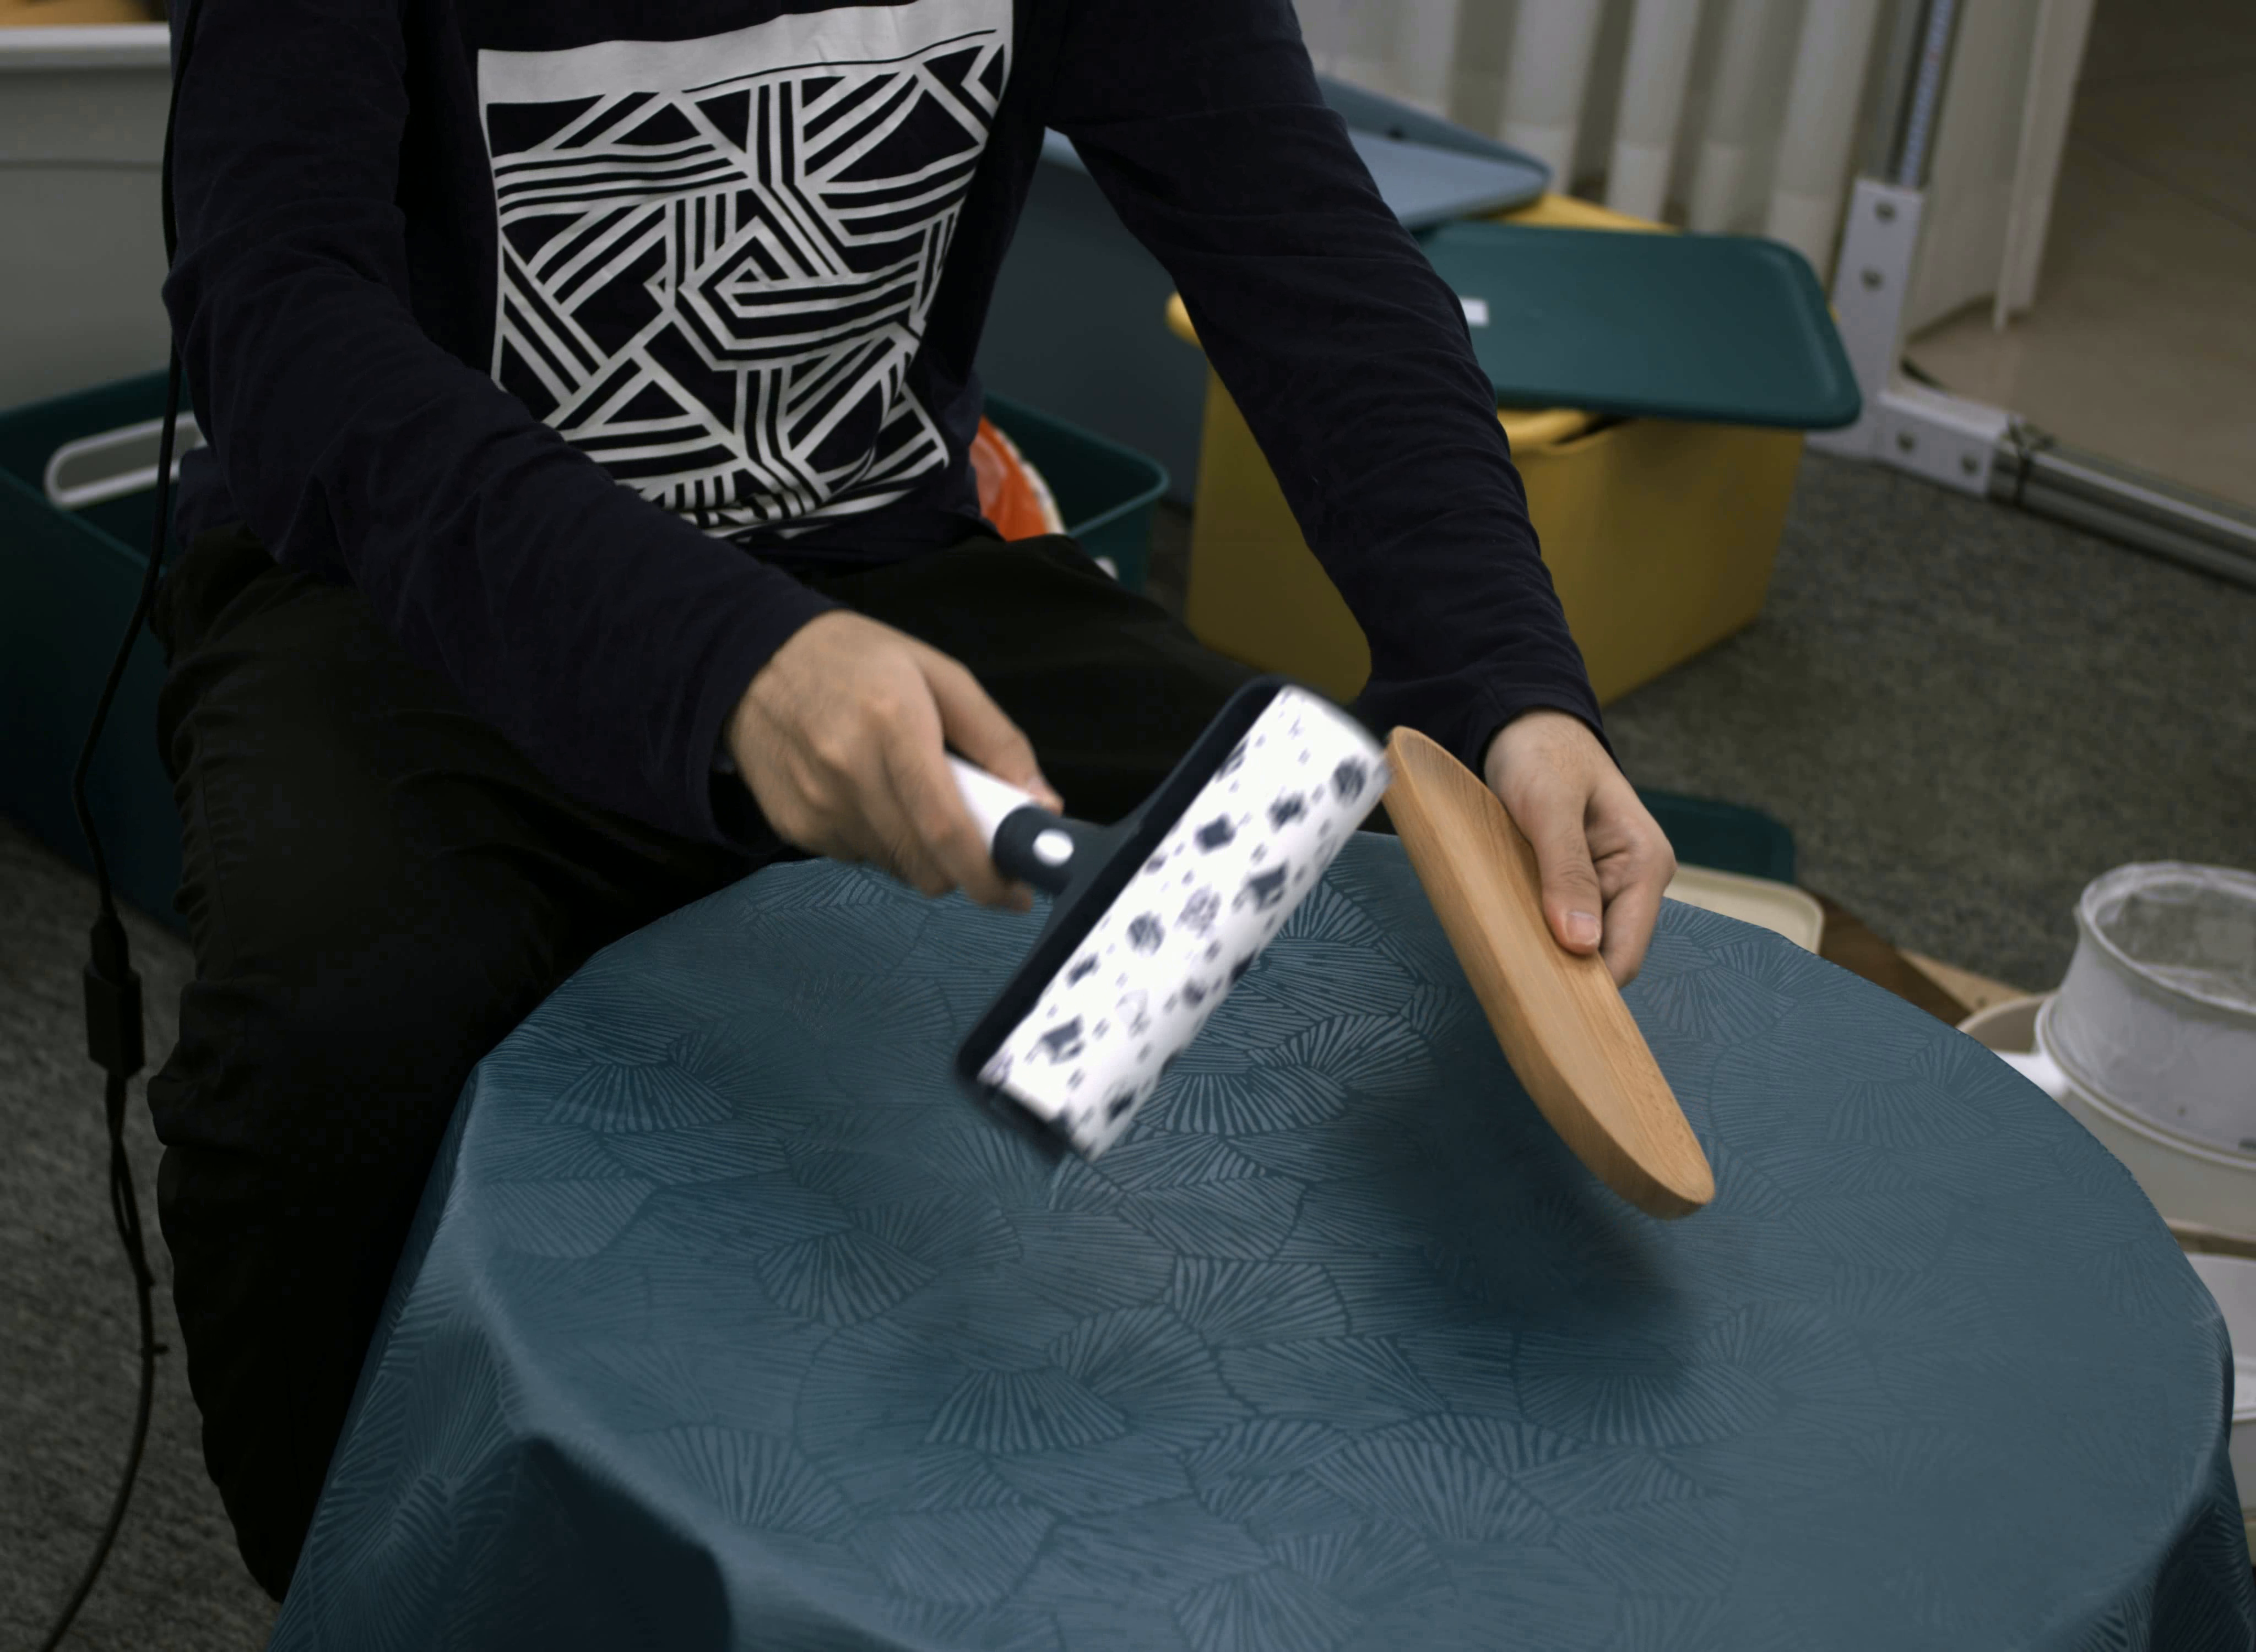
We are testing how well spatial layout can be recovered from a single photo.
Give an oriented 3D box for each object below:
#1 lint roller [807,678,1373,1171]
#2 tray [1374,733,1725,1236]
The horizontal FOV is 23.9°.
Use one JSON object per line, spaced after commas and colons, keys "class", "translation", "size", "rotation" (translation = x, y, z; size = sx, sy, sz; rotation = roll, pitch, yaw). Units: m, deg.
{"class": "lint roller", "translation": [-0.044, 0.005, 1.784], "size": [0.176, 0.050, 0.249], "rotation": [-53, 39, -9]}
{"class": "tray", "translation": [0.141, 0.053, 1.813], "size": [0.101, 0.020, 0.233], "rotation": [34, 23, -39]}
